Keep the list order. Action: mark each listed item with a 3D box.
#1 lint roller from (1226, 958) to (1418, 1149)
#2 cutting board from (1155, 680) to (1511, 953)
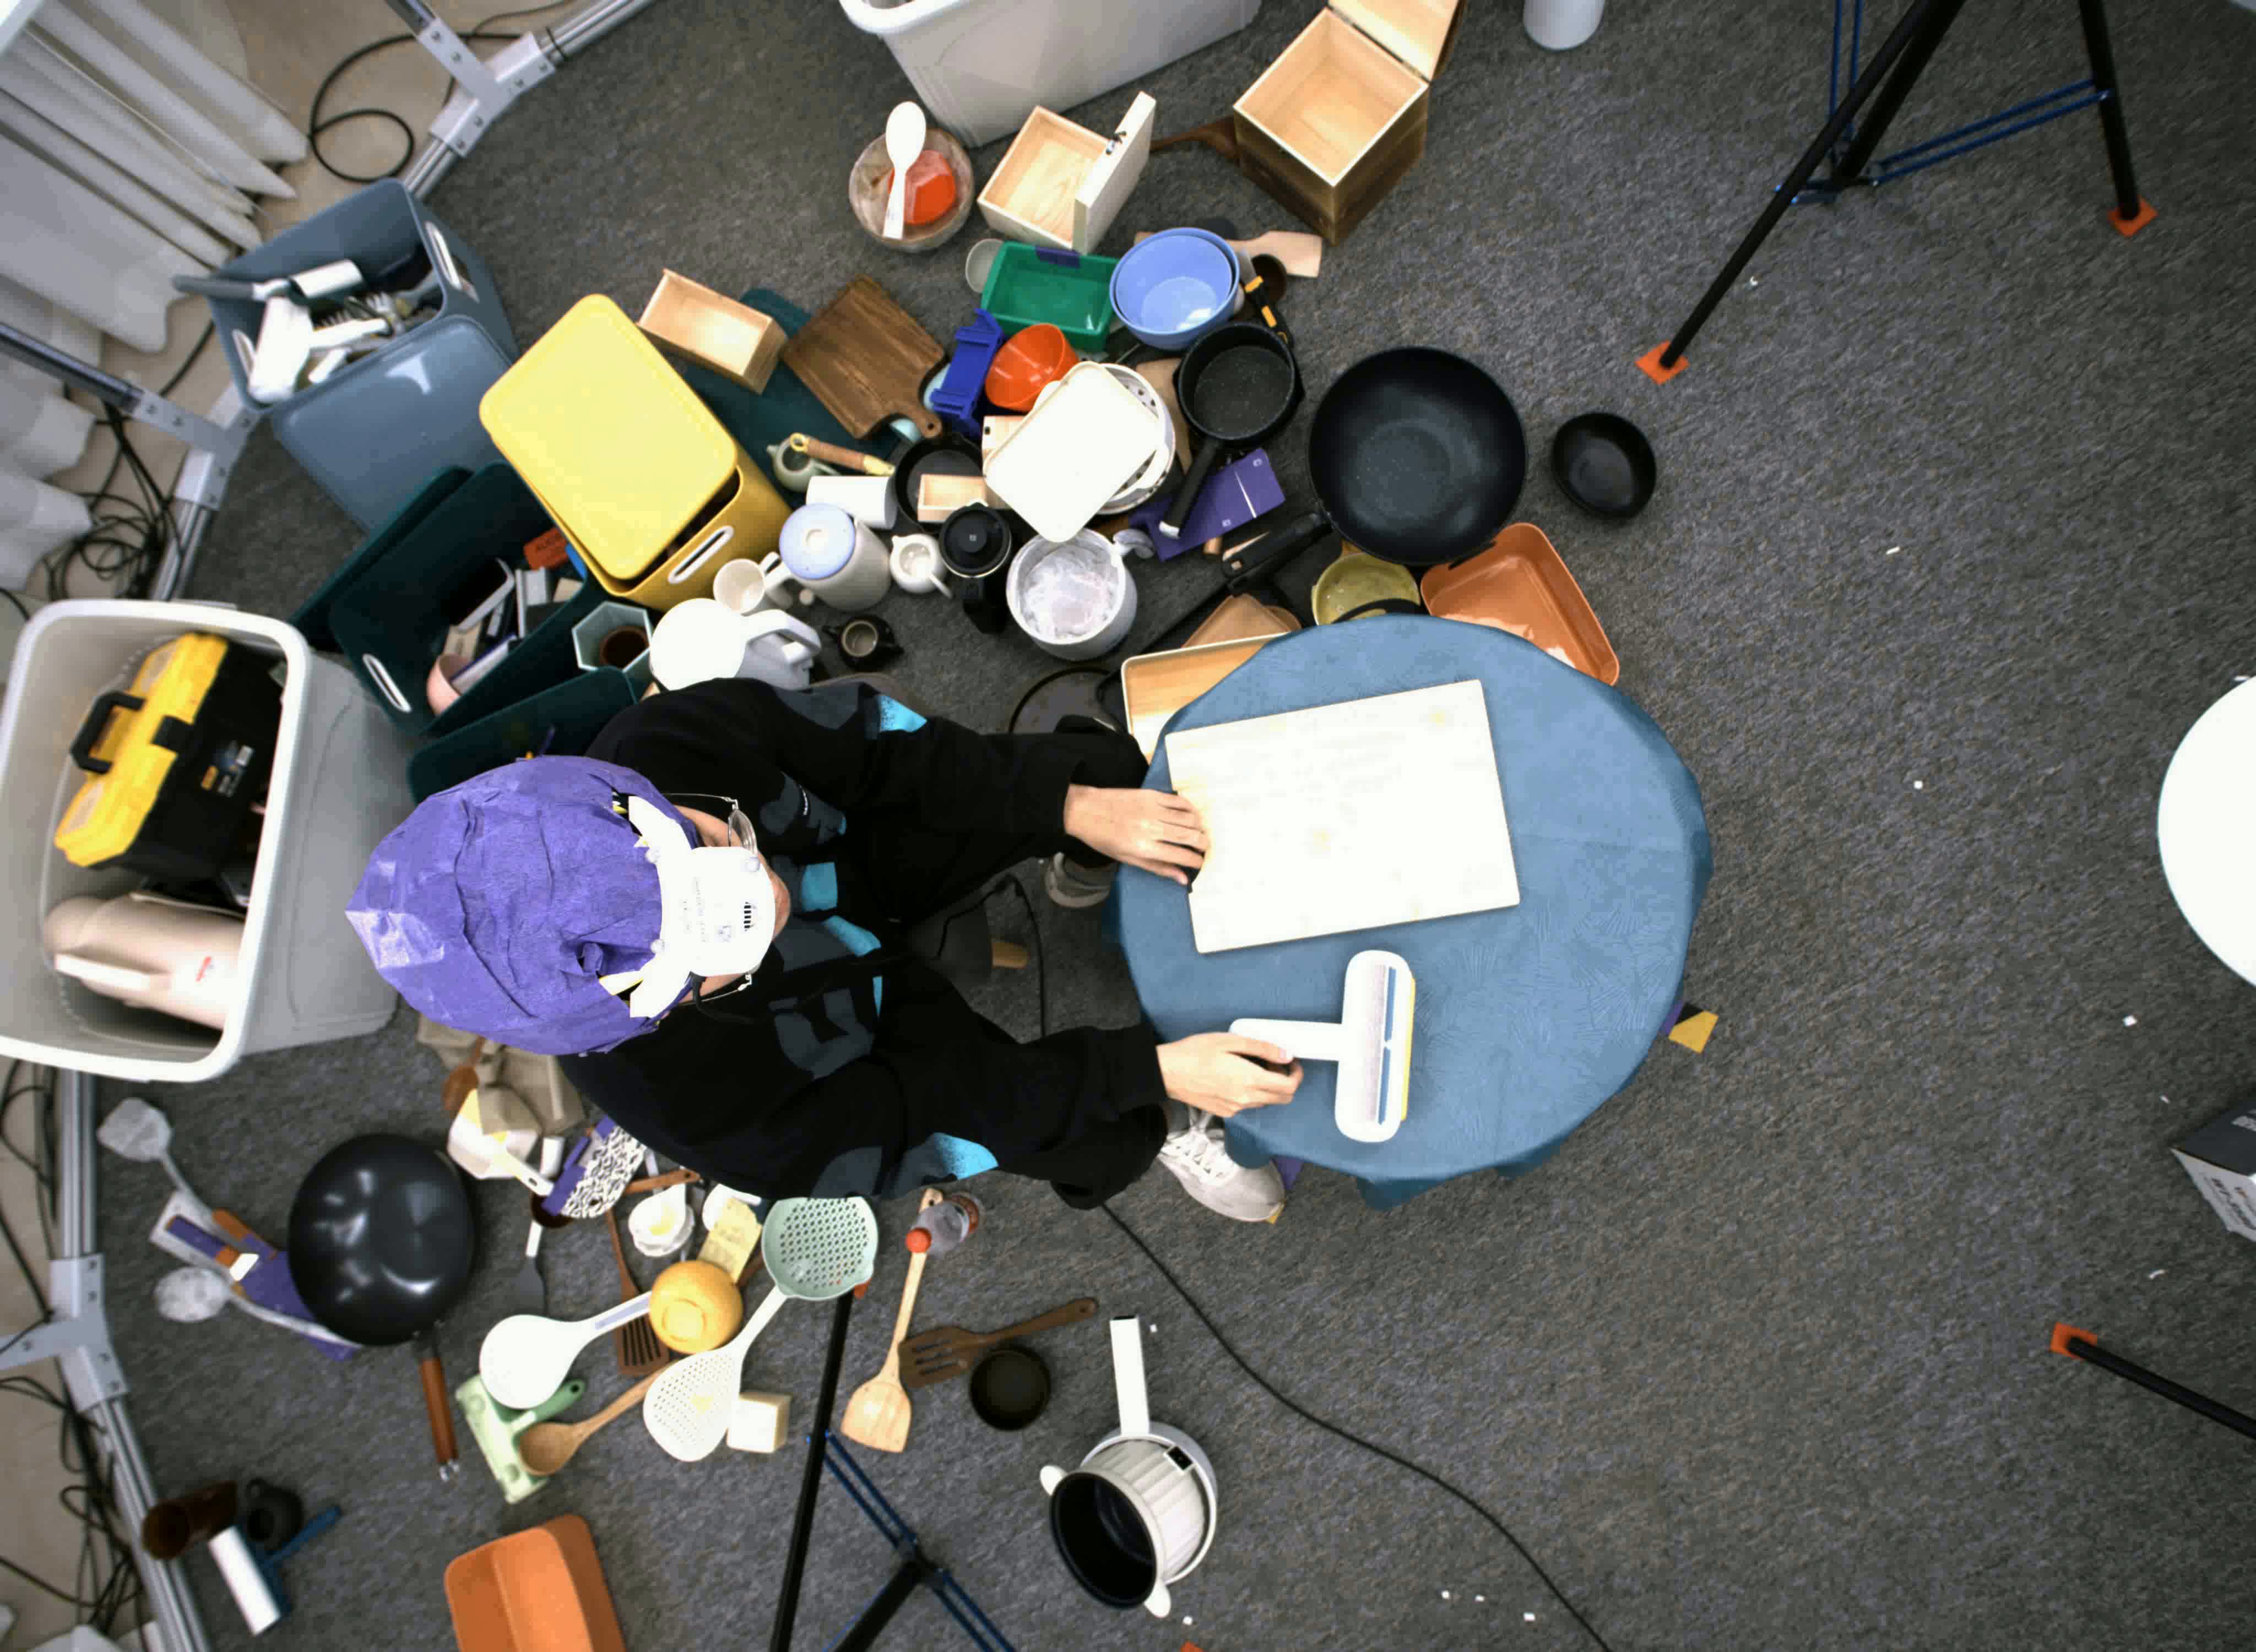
[{"bbox_3d":[0.193,0.223,1.428,0.193,0.074,0.191,8,83,12],"label":"lint roller"},{"bbox_3d":[0.216,-0.010,1.461,0.350,0.023,0.249,-10,85,10],"label":"cutting board"}]
